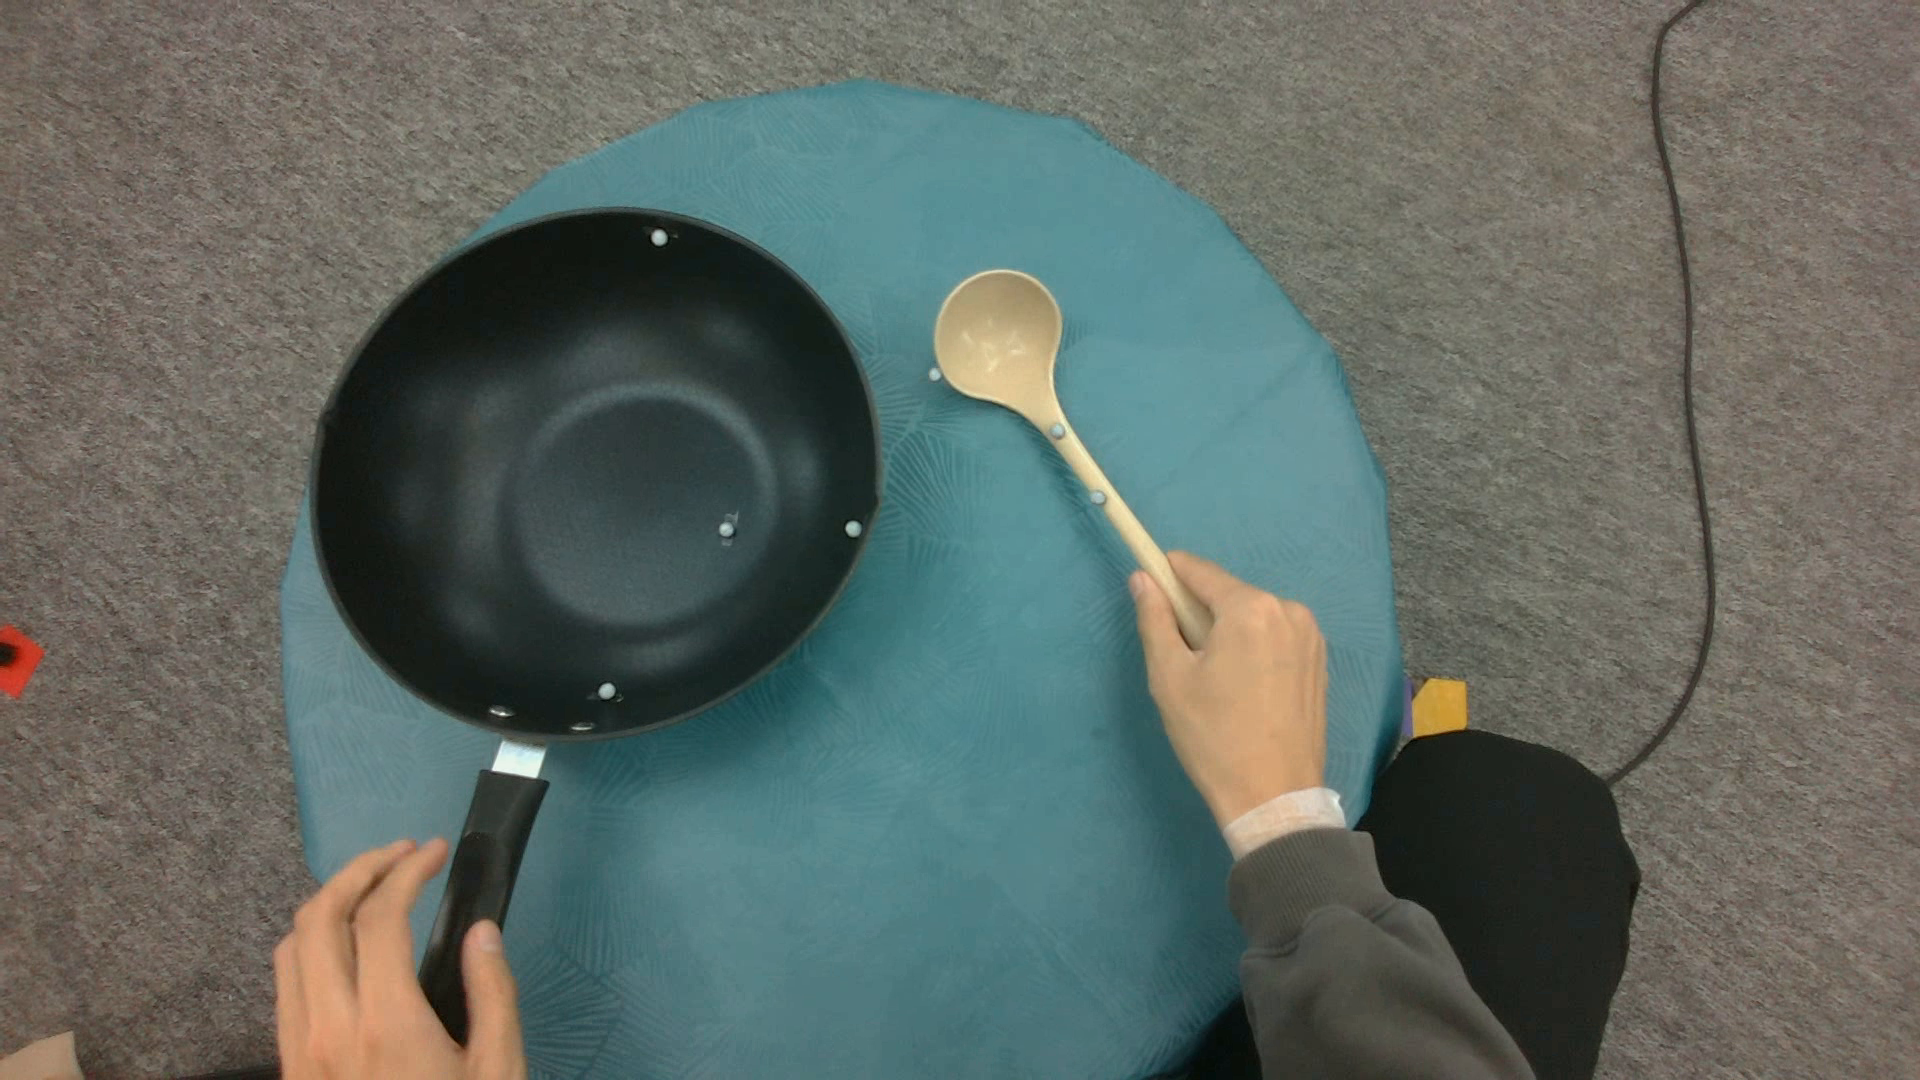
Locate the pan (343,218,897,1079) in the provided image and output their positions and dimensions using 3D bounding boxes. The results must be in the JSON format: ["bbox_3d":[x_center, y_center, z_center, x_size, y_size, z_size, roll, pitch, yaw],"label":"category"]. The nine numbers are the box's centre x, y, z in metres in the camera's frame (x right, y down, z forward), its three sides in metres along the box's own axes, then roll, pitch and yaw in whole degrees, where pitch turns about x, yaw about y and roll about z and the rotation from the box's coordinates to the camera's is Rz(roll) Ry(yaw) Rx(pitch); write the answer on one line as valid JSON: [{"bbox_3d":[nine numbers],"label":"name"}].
[{"bbox_3d":[-0.189,0.060,0.707,0.288,0.086,0.464,10,75,6],"label":"pan"}]

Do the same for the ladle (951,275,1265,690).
[{"bbox_3d":[0.079,-0.036,0.708,0.072,0.072,0.255,-30,62,-8],"label":"ladle"}]
